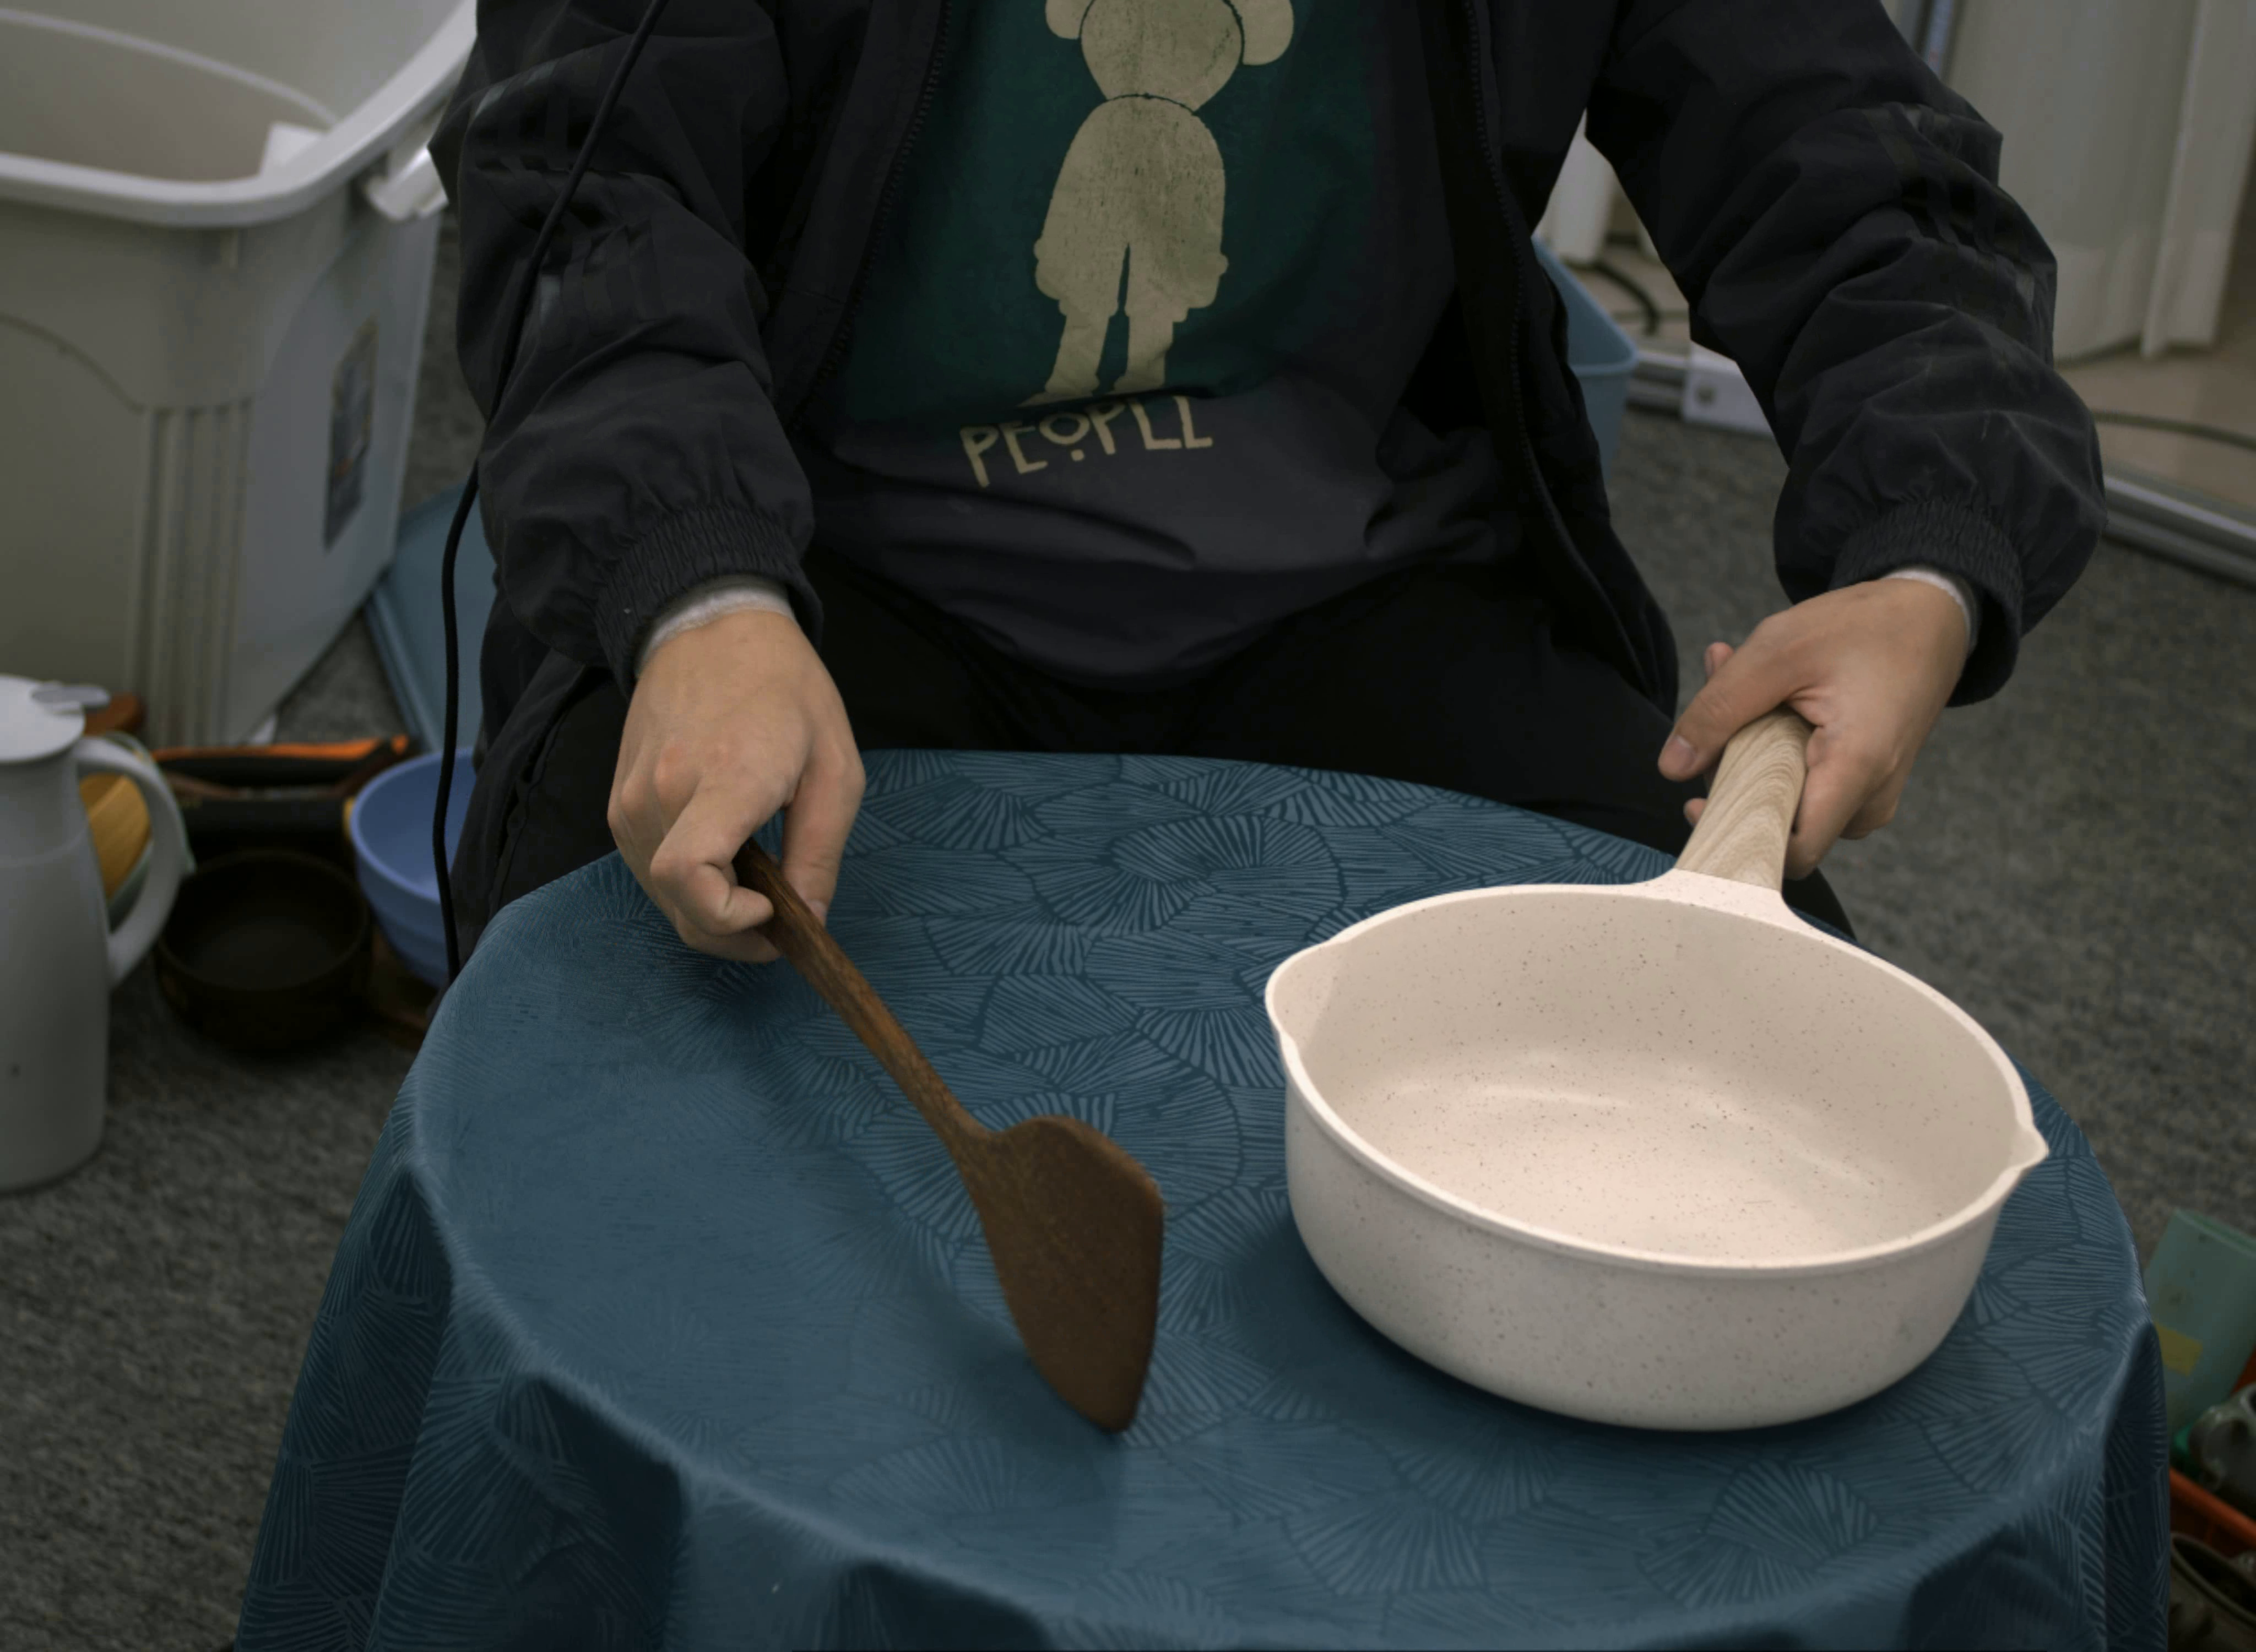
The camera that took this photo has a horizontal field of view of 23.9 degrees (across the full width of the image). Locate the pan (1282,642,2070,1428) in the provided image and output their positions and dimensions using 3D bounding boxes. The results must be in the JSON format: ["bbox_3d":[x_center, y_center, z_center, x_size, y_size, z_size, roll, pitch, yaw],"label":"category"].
[{"bbox_3d":[0.201,0.068,1.848,0.263,0.101,0.436,11,27,12],"label":"pan"}]

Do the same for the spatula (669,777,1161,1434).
[{"bbox_3d":[-0.080,0.072,1.789,0.015,0.096,0.389,-3,27,-26],"label":"spatula"}]
